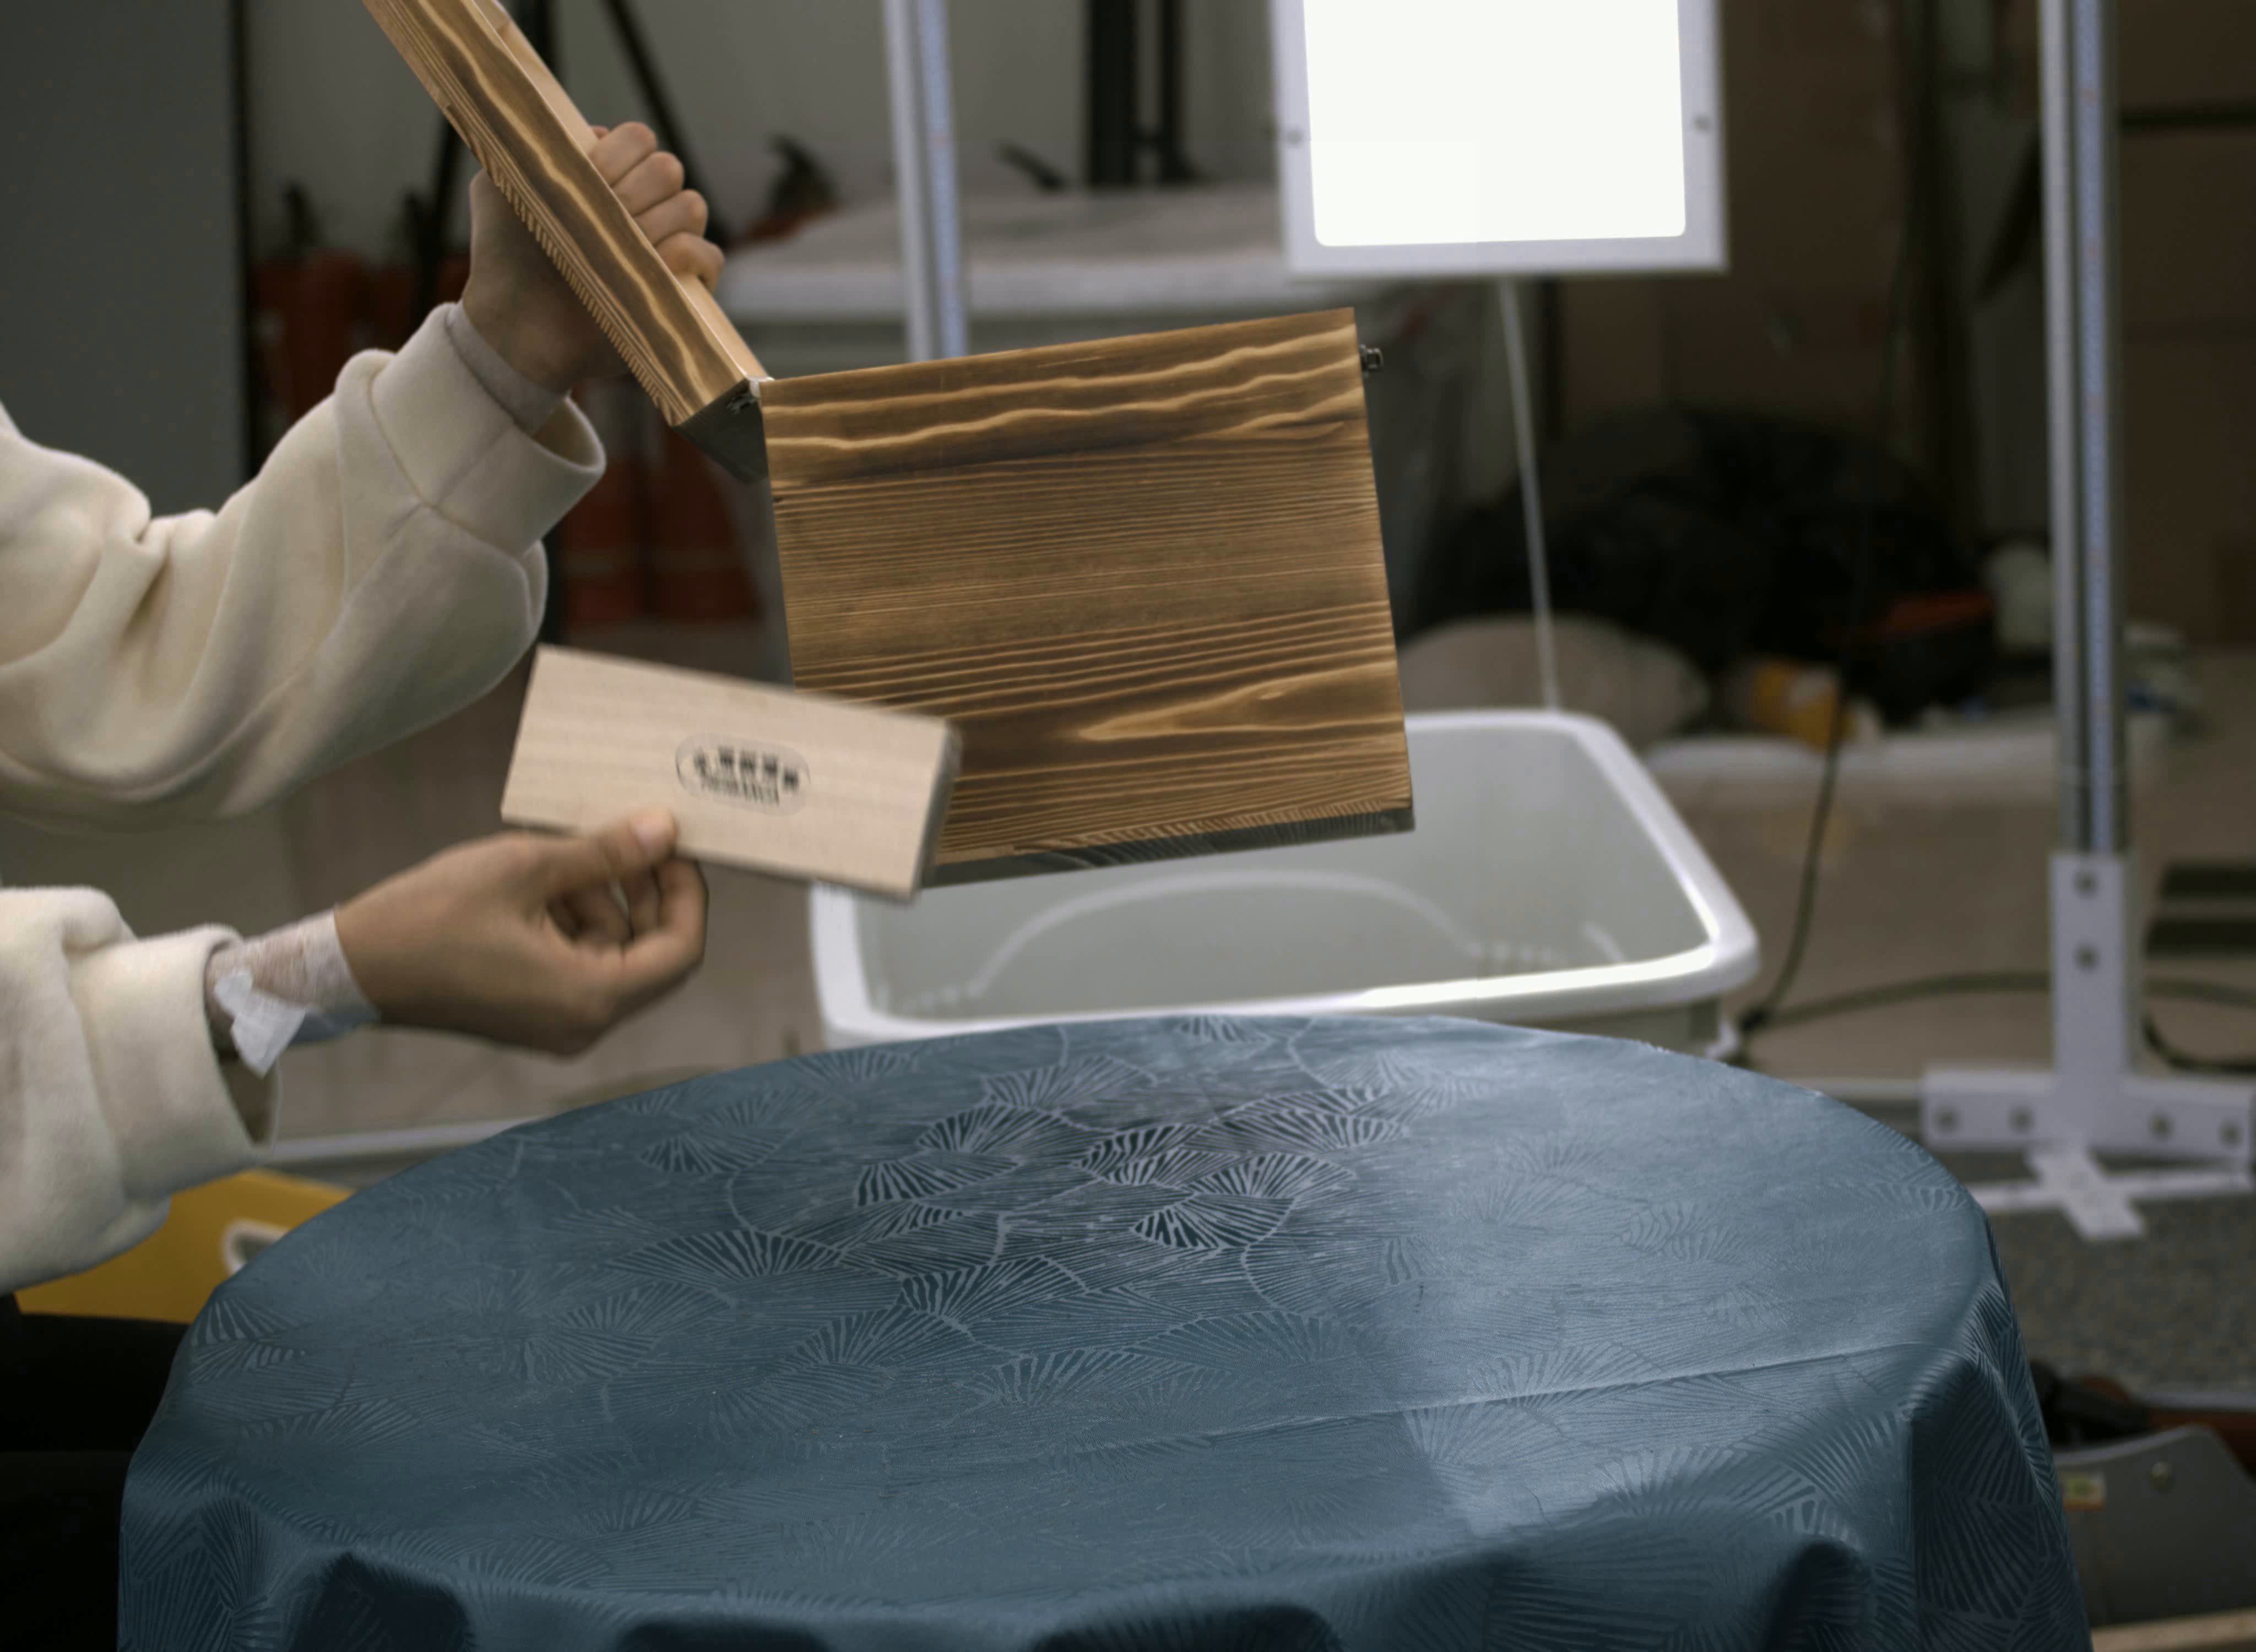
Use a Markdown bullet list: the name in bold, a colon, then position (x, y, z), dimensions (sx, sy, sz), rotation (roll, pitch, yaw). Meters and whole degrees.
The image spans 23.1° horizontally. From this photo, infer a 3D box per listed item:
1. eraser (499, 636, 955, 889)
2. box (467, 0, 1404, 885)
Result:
- **eraser**: position (-0.127, -0.019, 1.756), dimensions (0.141, 0.057, 0.028), rotation (11, -7, 19)
- **box**: position (-0.070, -0.164, 1.924), dimensions (0.322, 0.376, 0.208), rotation (-6, -2, 4)
